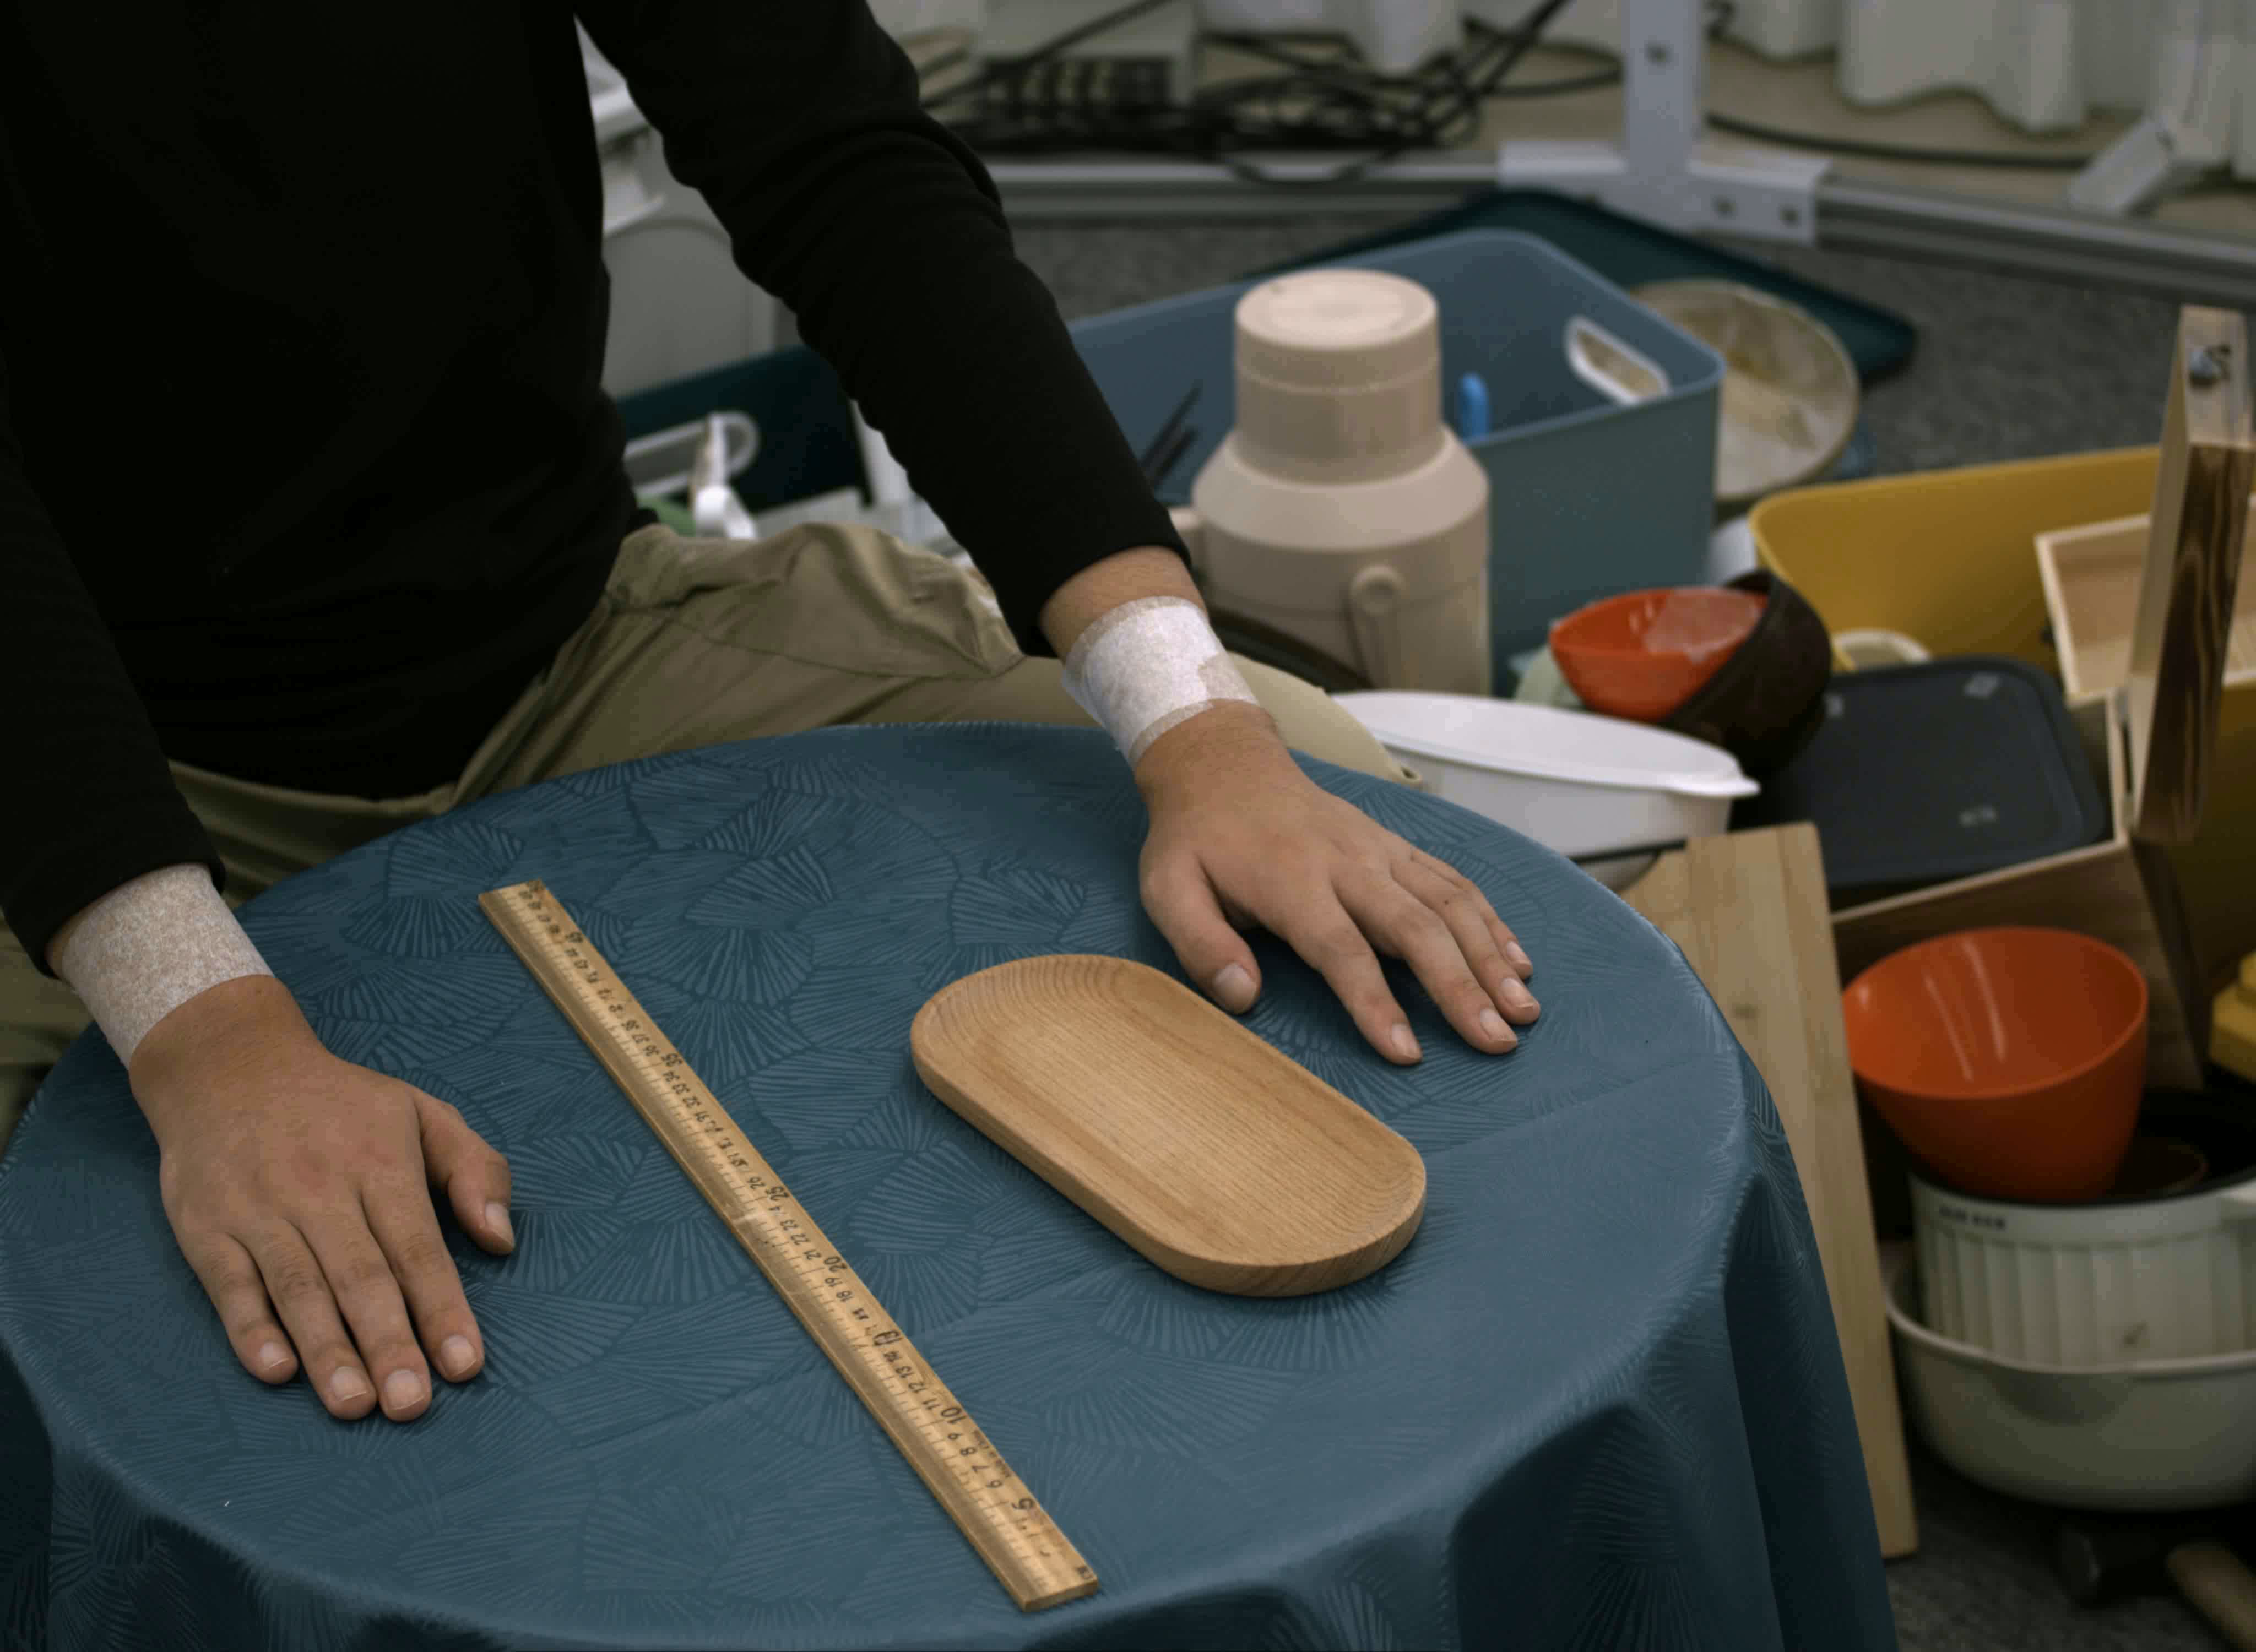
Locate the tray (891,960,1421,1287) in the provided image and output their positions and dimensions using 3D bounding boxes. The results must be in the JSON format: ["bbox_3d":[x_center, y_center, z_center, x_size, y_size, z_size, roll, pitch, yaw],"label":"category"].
[{"bbox_3d":[0.007,0.098,1.888,0.102,0.020,0.231,-19,29,-31],"label":"tray"}]

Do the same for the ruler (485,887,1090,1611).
[{"bbox_3d":[-0.123,0.127,1.858,0.027,0.006,0.504,-12,28,-21],"label":"ruler"}]
